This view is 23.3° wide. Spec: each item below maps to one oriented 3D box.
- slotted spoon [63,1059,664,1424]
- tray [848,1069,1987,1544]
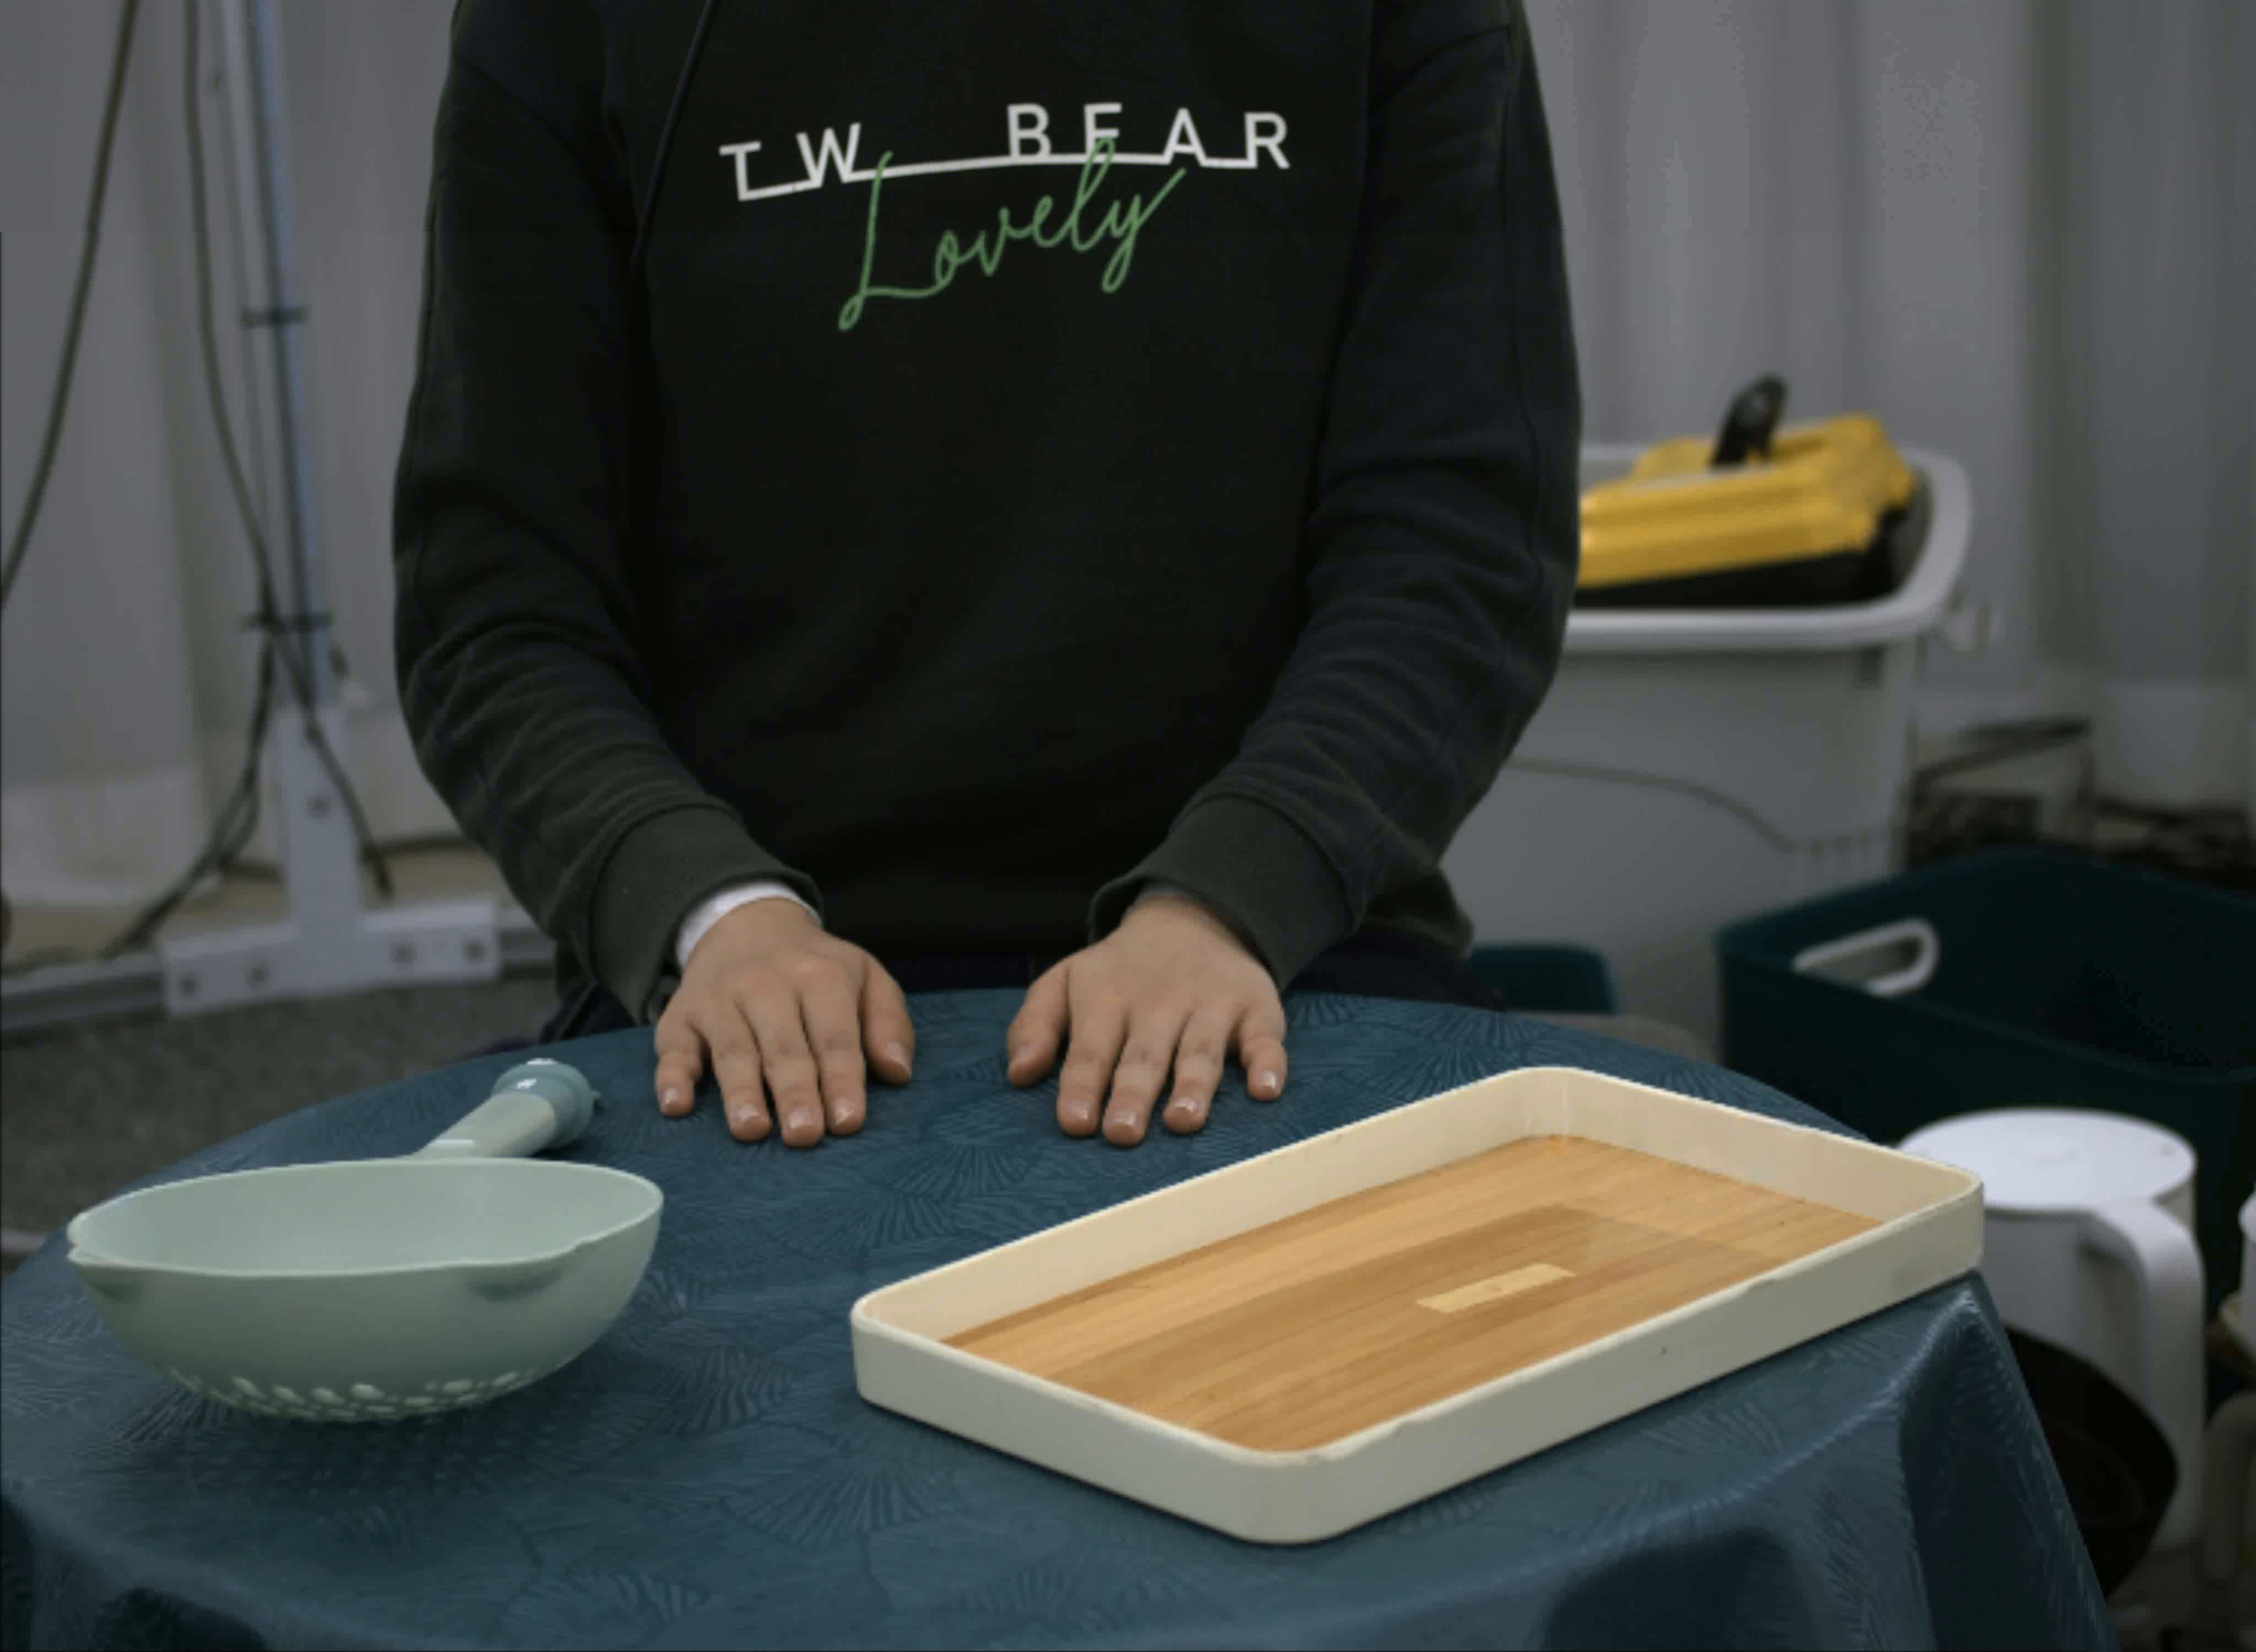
[{"bbox_3d":[-0.205,0.109,1.648,0.169,0.075,0.361,-1,15,7],"label":"slotted spoon"},{"bbox_3d":[0.087,0.133,1.579,0.299,0.027,0.193,-15,19,-40],"label":"tray"}]
